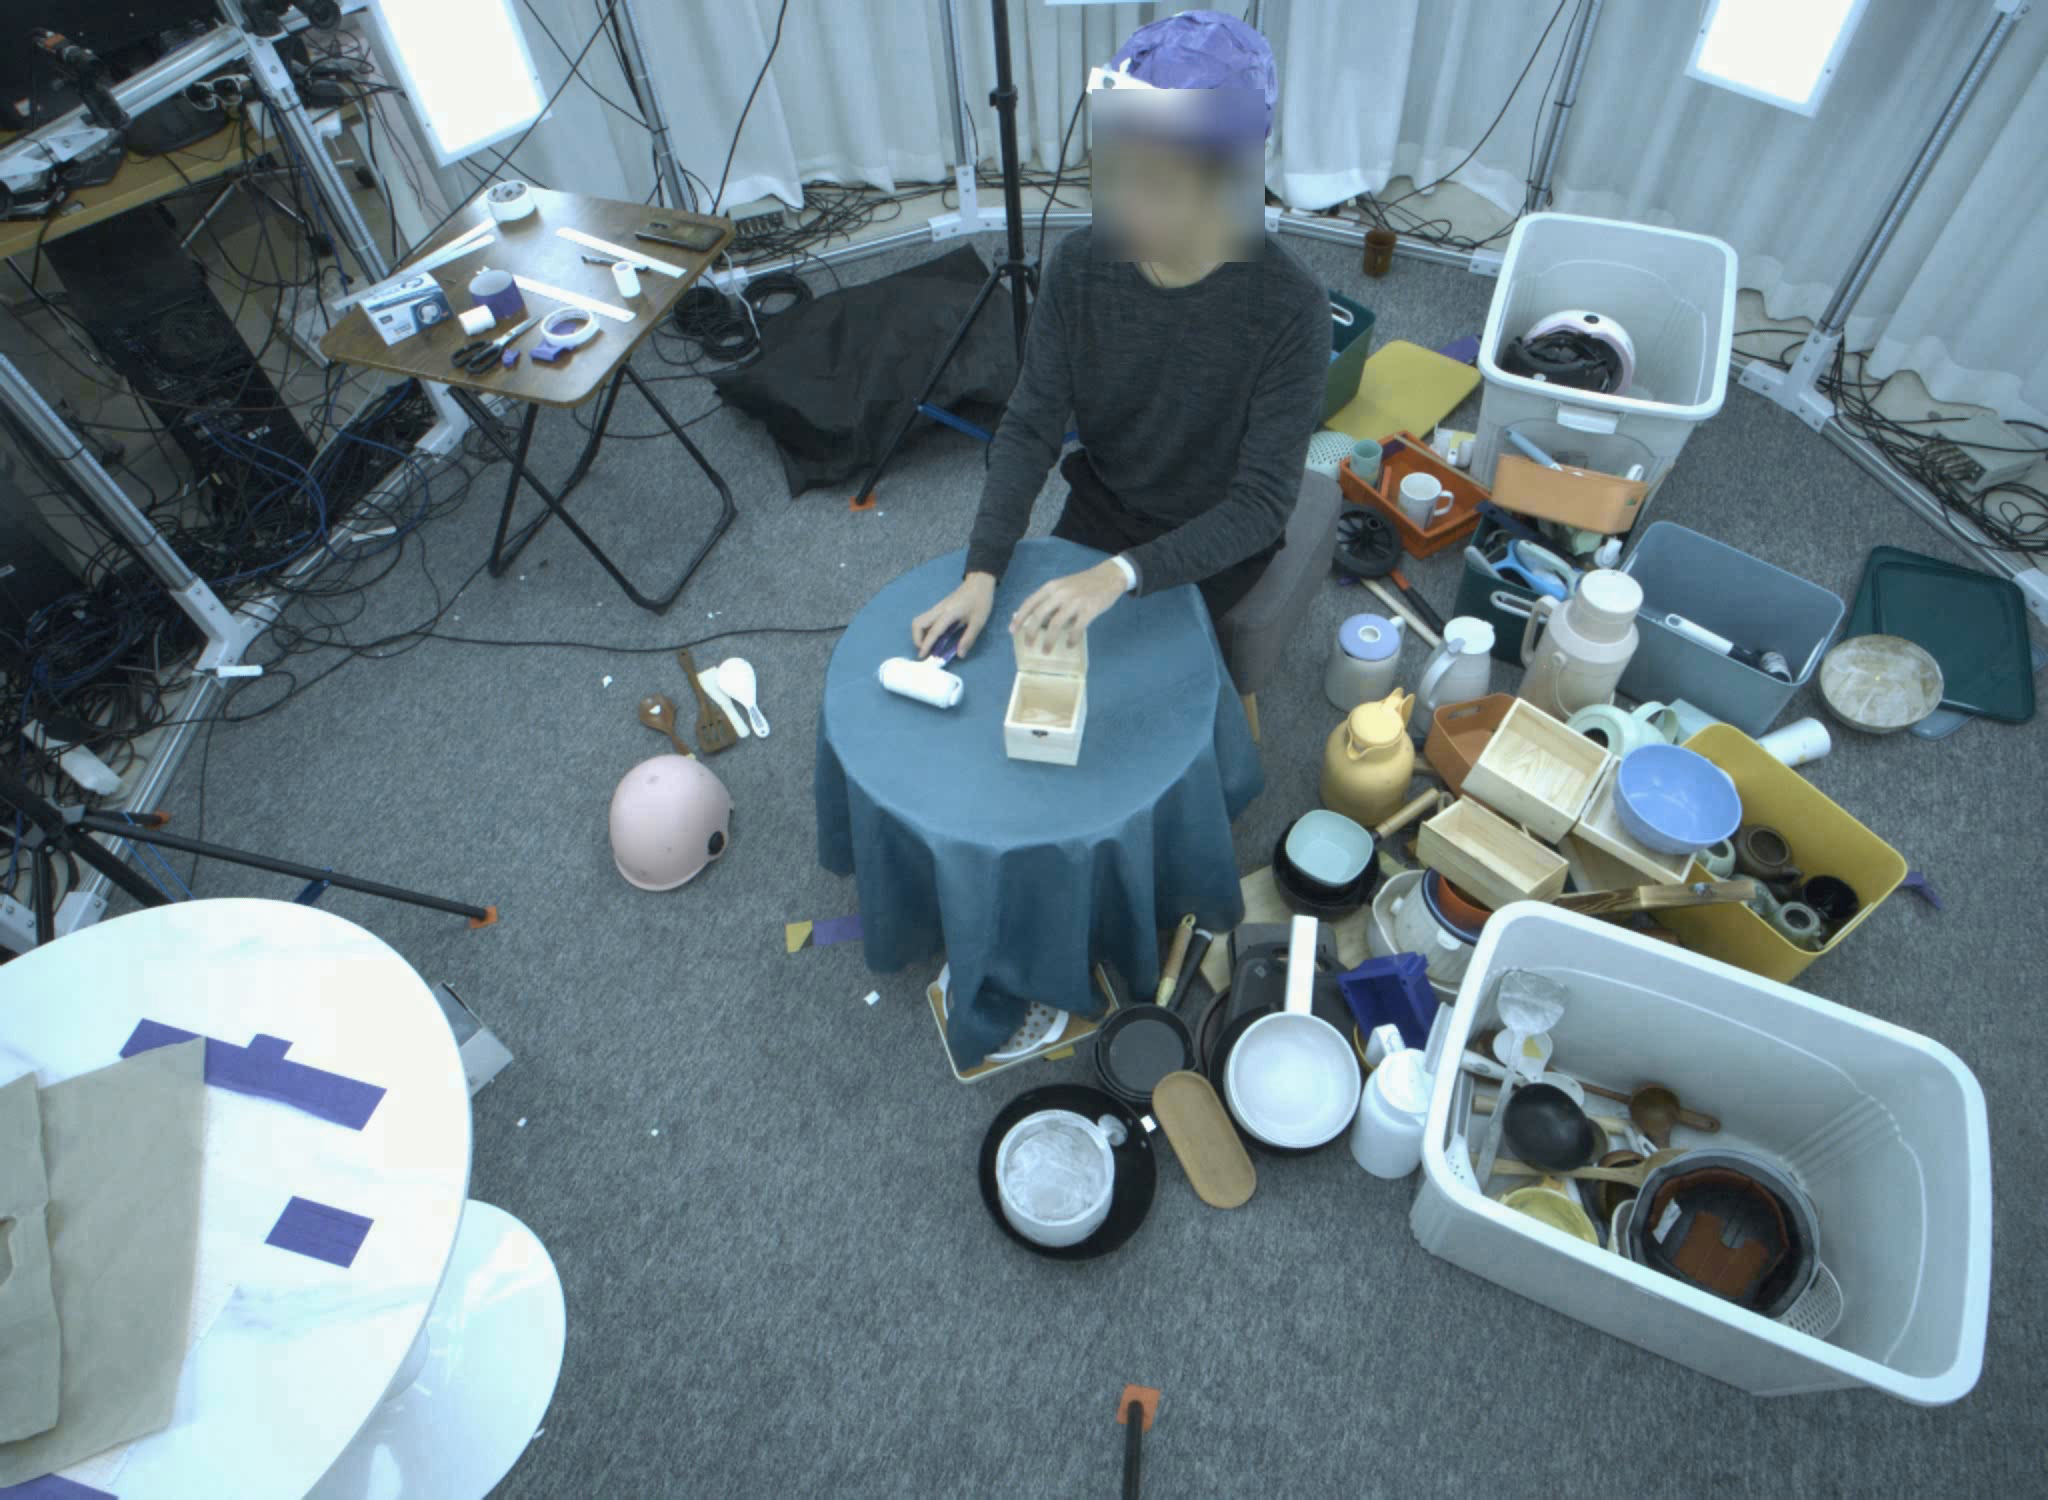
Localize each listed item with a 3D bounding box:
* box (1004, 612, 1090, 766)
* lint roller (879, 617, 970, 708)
[{"bbox_3d":[0.032,-0.083,1.732,0.102,0.186,0.133,7,55,8],"label":"box"},{"bbox_3d":[-0.128,-0.148,1.867,0.131,0.051,0.181,20,60,17],"label":"lint roller"}]
